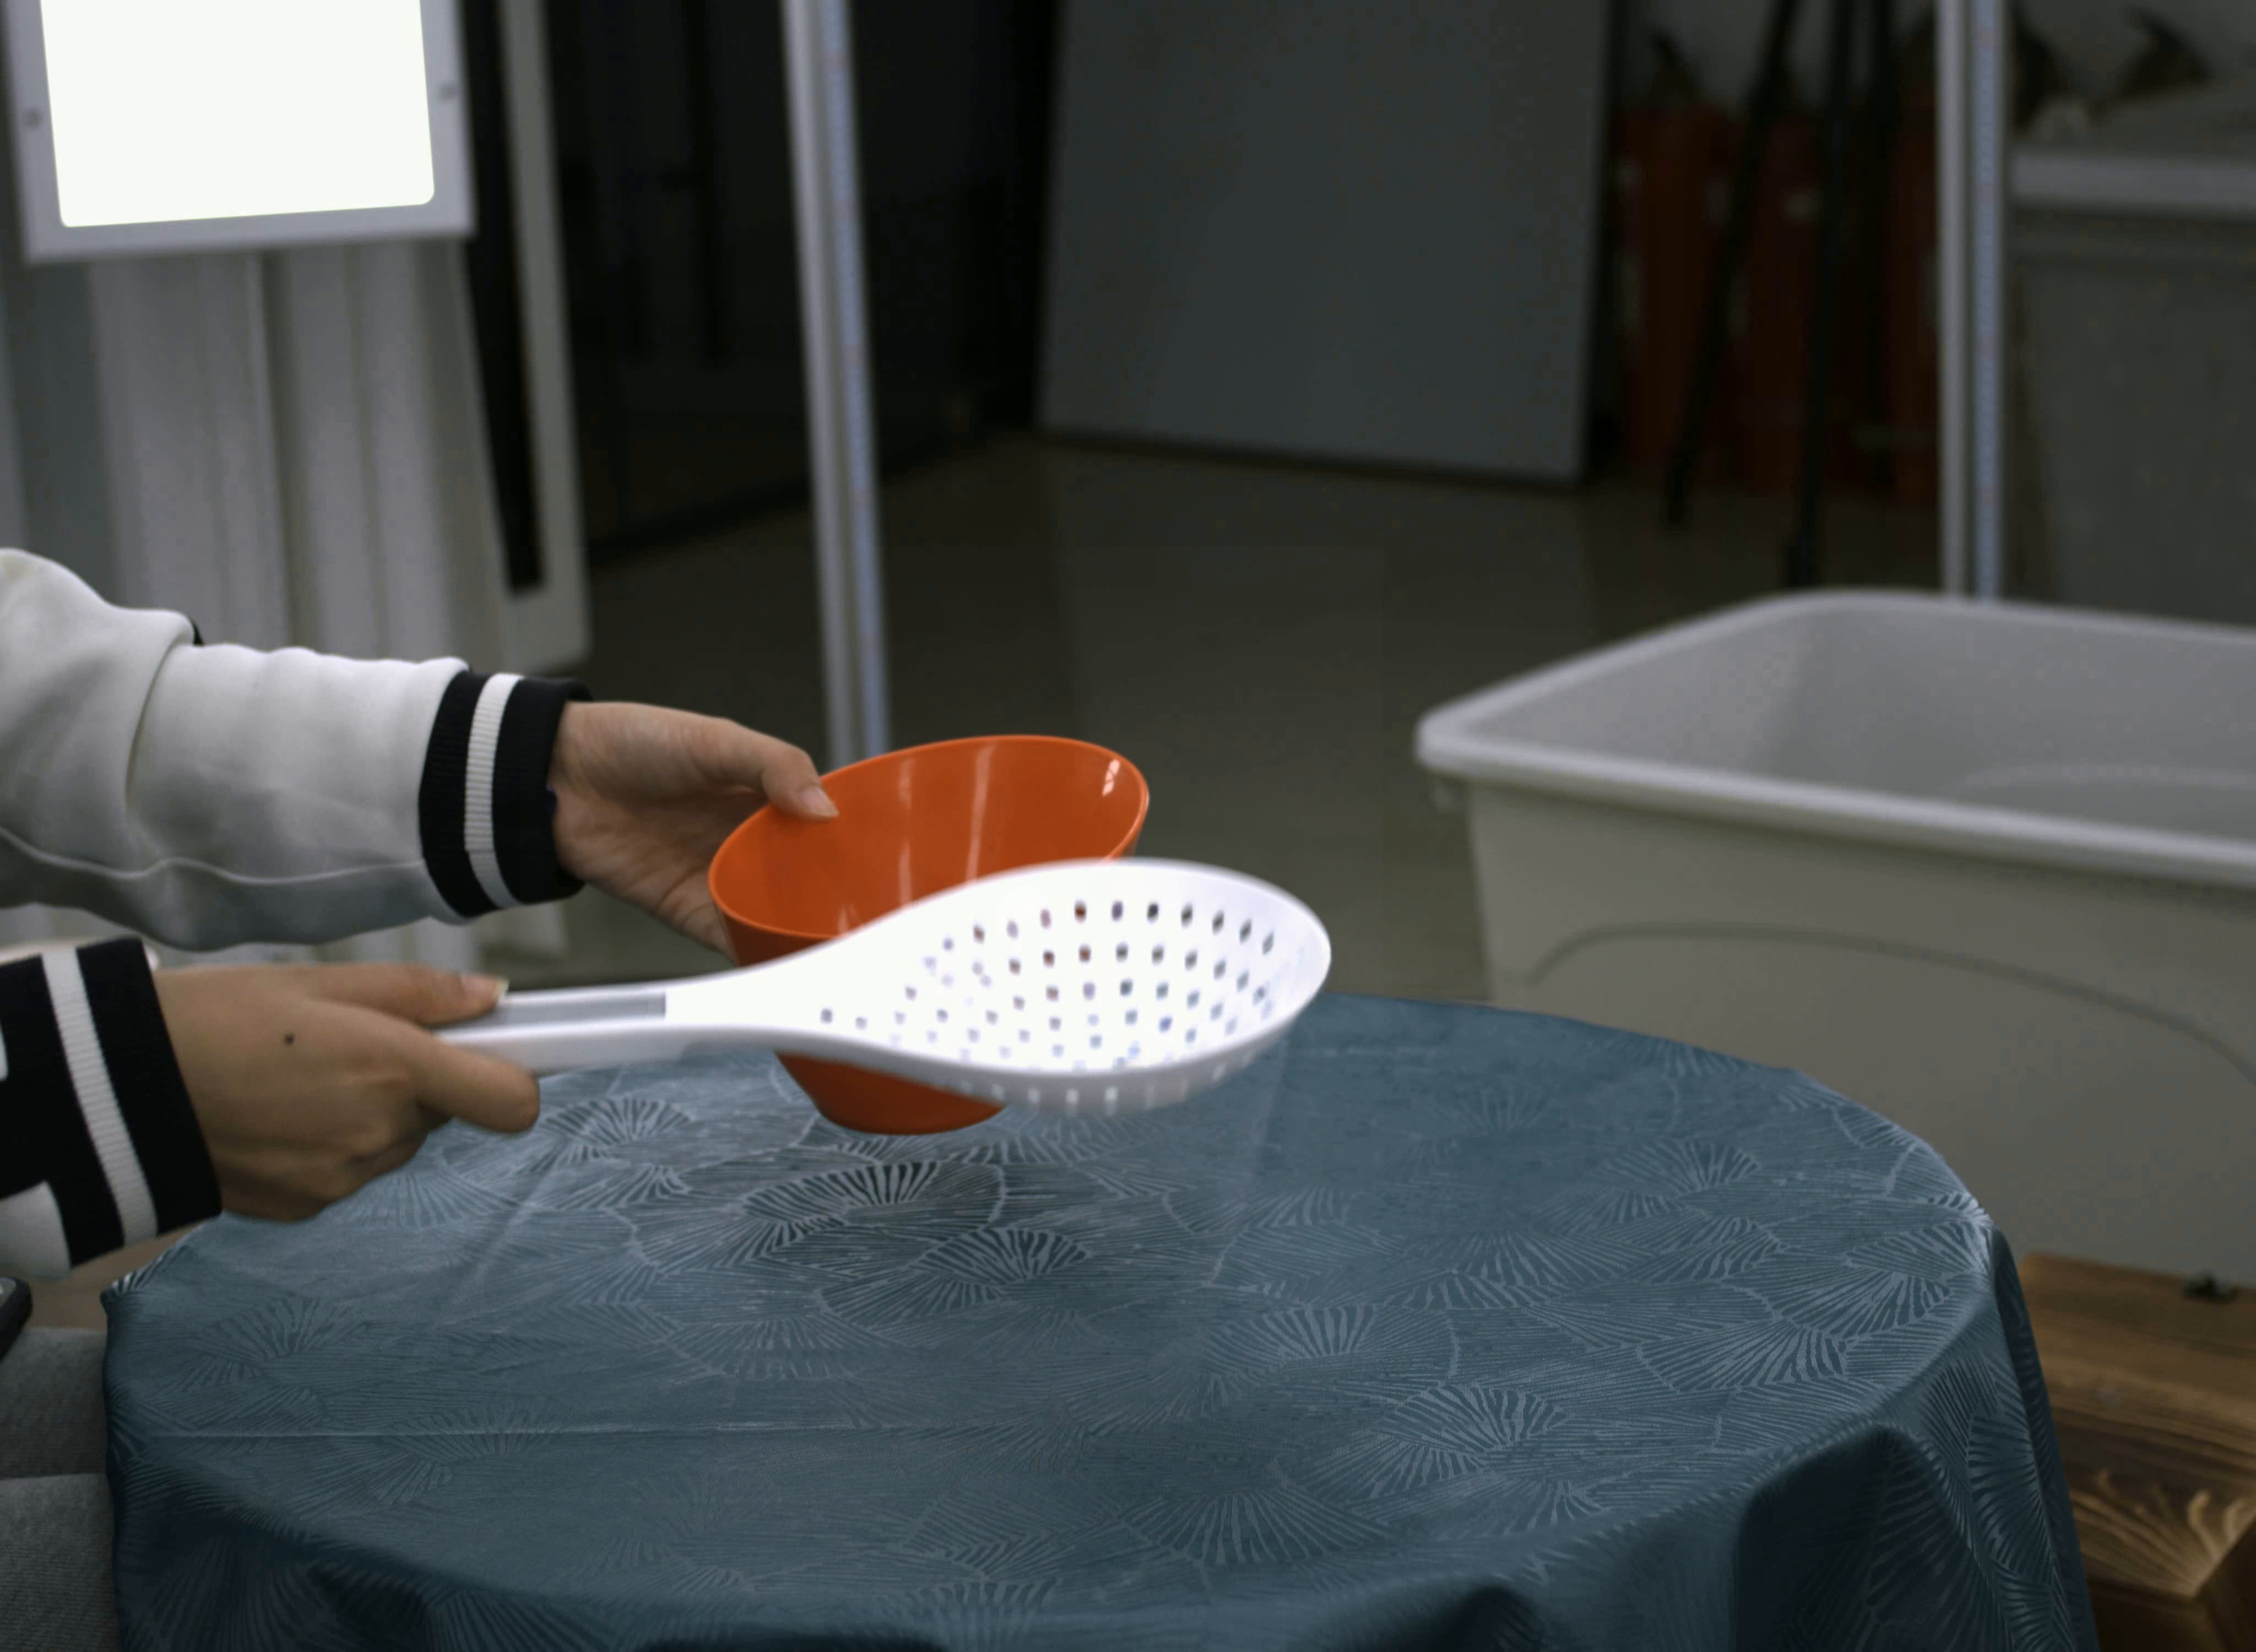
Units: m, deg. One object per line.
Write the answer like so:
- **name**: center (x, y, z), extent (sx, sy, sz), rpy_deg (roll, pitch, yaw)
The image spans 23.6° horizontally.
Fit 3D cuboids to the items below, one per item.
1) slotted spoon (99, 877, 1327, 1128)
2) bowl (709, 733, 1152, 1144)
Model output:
- **slotted spoon**: center (-0.117, 0.056, 1.533), extent (0.344, 0.046, 0.136), rpy_deg (0, 23, -3)
- **bowl**: center (-0.062, 0.041, 1.779), extent (0.146, 0.105, 0.148), rpy_deg (-3, 21, 0)
